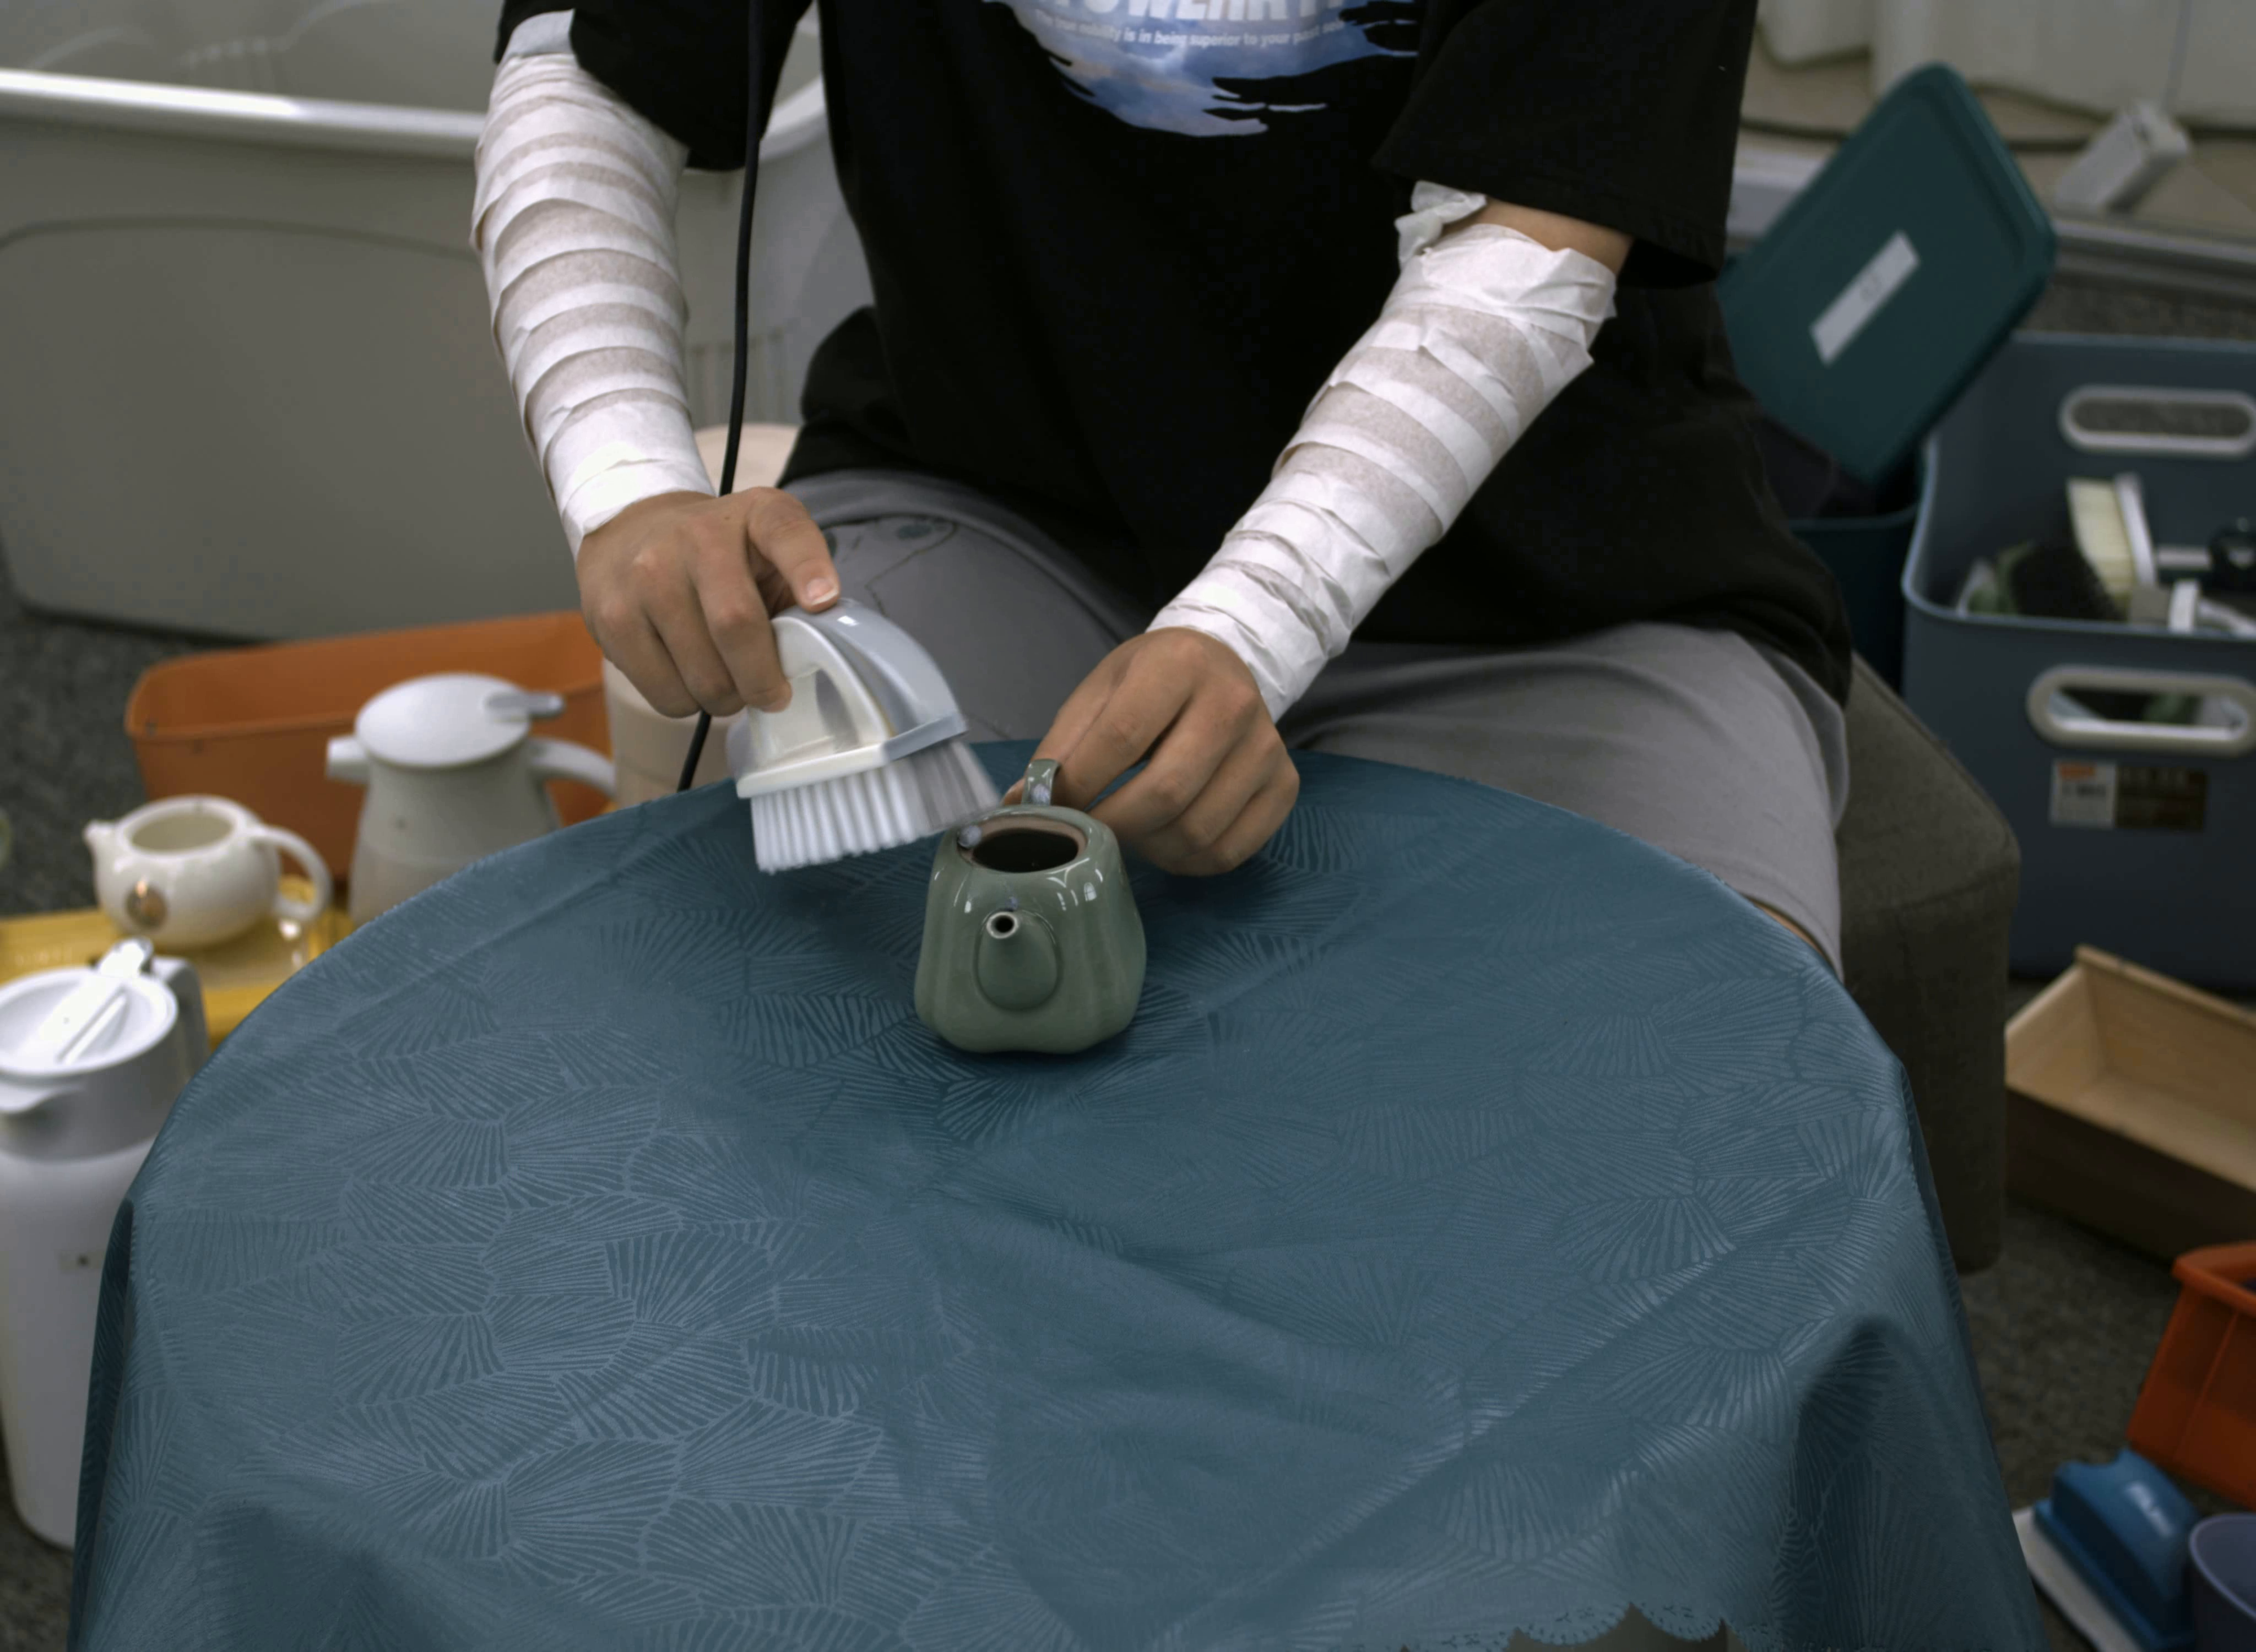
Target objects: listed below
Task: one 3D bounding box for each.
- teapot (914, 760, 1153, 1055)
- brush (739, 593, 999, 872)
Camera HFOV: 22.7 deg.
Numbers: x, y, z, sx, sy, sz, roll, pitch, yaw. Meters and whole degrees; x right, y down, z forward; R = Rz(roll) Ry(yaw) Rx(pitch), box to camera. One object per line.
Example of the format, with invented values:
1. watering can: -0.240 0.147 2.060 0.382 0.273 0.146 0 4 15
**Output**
1. teapot: -0.033 0.034 1.957 0.079 0.074 0.134 4 26 9
2. brush: -0.094 -0.038 1.980 0.062 0.094 0.174 -24 7 -20
